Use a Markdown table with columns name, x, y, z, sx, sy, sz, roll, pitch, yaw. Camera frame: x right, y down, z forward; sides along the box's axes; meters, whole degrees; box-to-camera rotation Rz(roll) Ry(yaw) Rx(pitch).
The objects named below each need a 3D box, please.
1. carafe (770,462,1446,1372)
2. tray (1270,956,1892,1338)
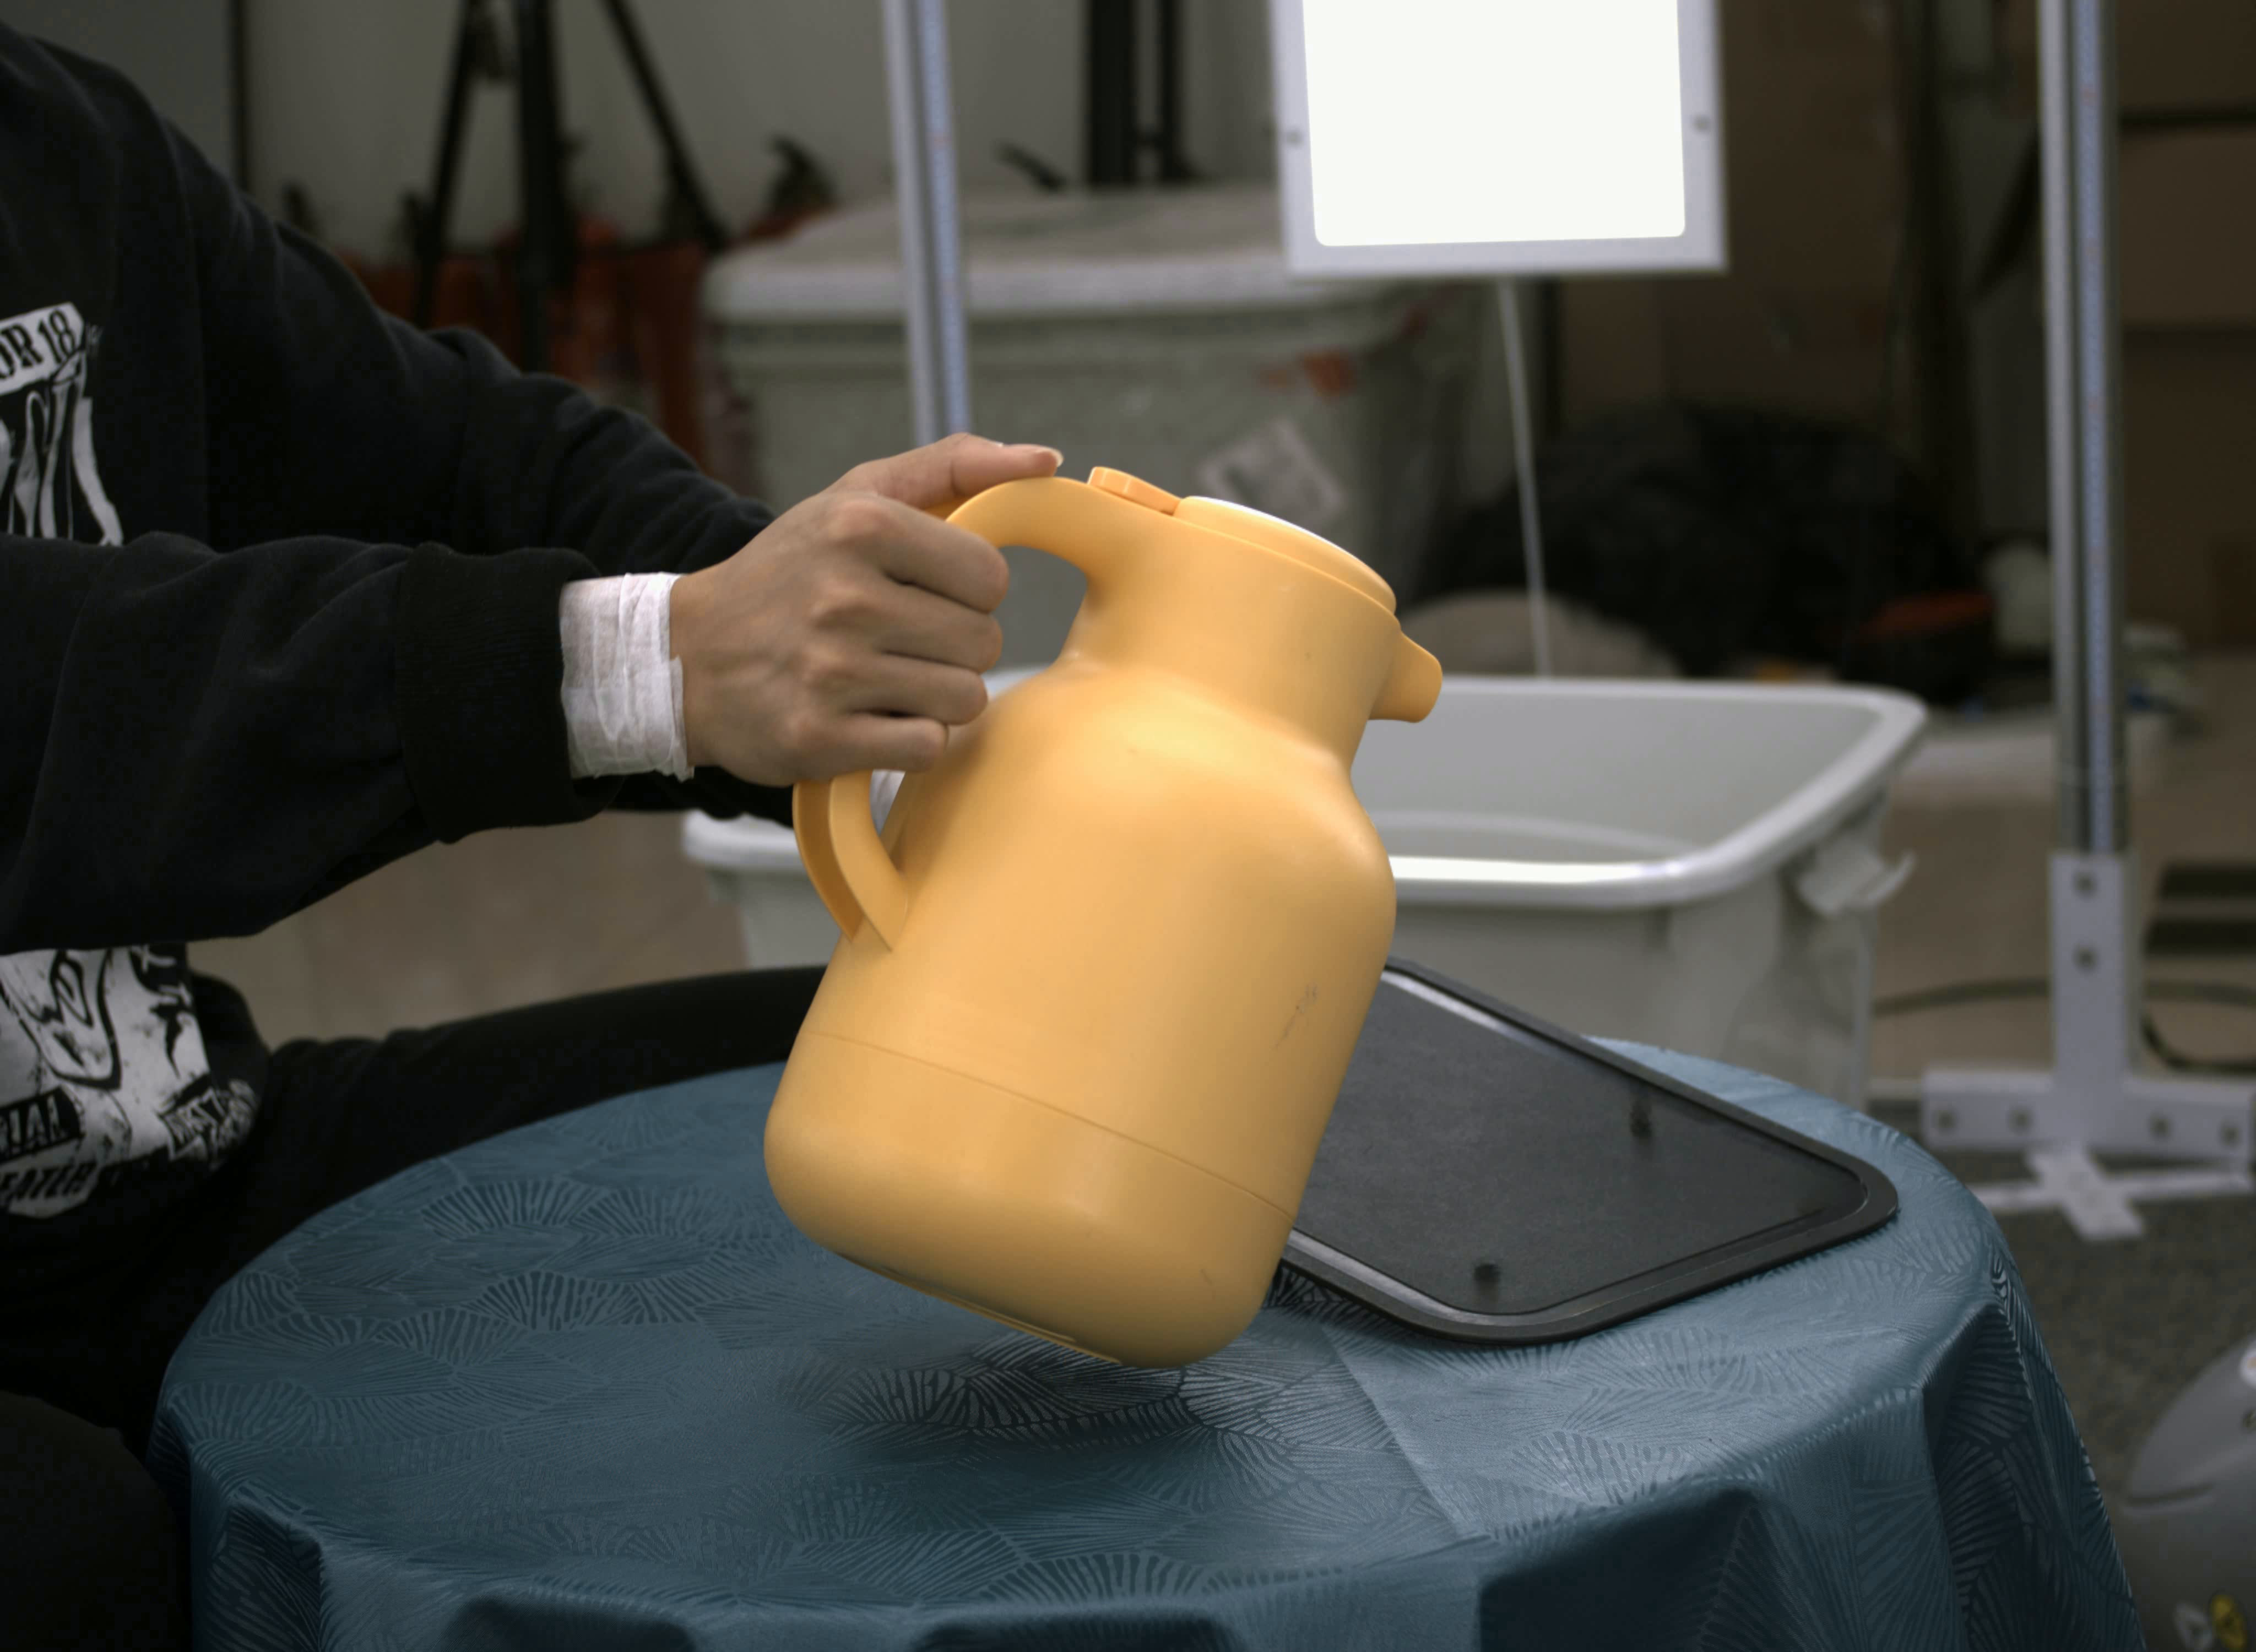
| name | x | y | z | sx | sy | sz | roll | pitch | yaw |
| --- | --- | --- | --- | --- | --- | --- | --- | --- | --- |
| carafe | -0.015 | 0.020 | 1.687 | 0.199 | 0.260 | 0.166 | 25 | -10 | -26 |
| tray | 0.089 | 0.099 | 1.869 | 0.206 | 0.010 | 0.331 | -15 | 25 | -35 |
